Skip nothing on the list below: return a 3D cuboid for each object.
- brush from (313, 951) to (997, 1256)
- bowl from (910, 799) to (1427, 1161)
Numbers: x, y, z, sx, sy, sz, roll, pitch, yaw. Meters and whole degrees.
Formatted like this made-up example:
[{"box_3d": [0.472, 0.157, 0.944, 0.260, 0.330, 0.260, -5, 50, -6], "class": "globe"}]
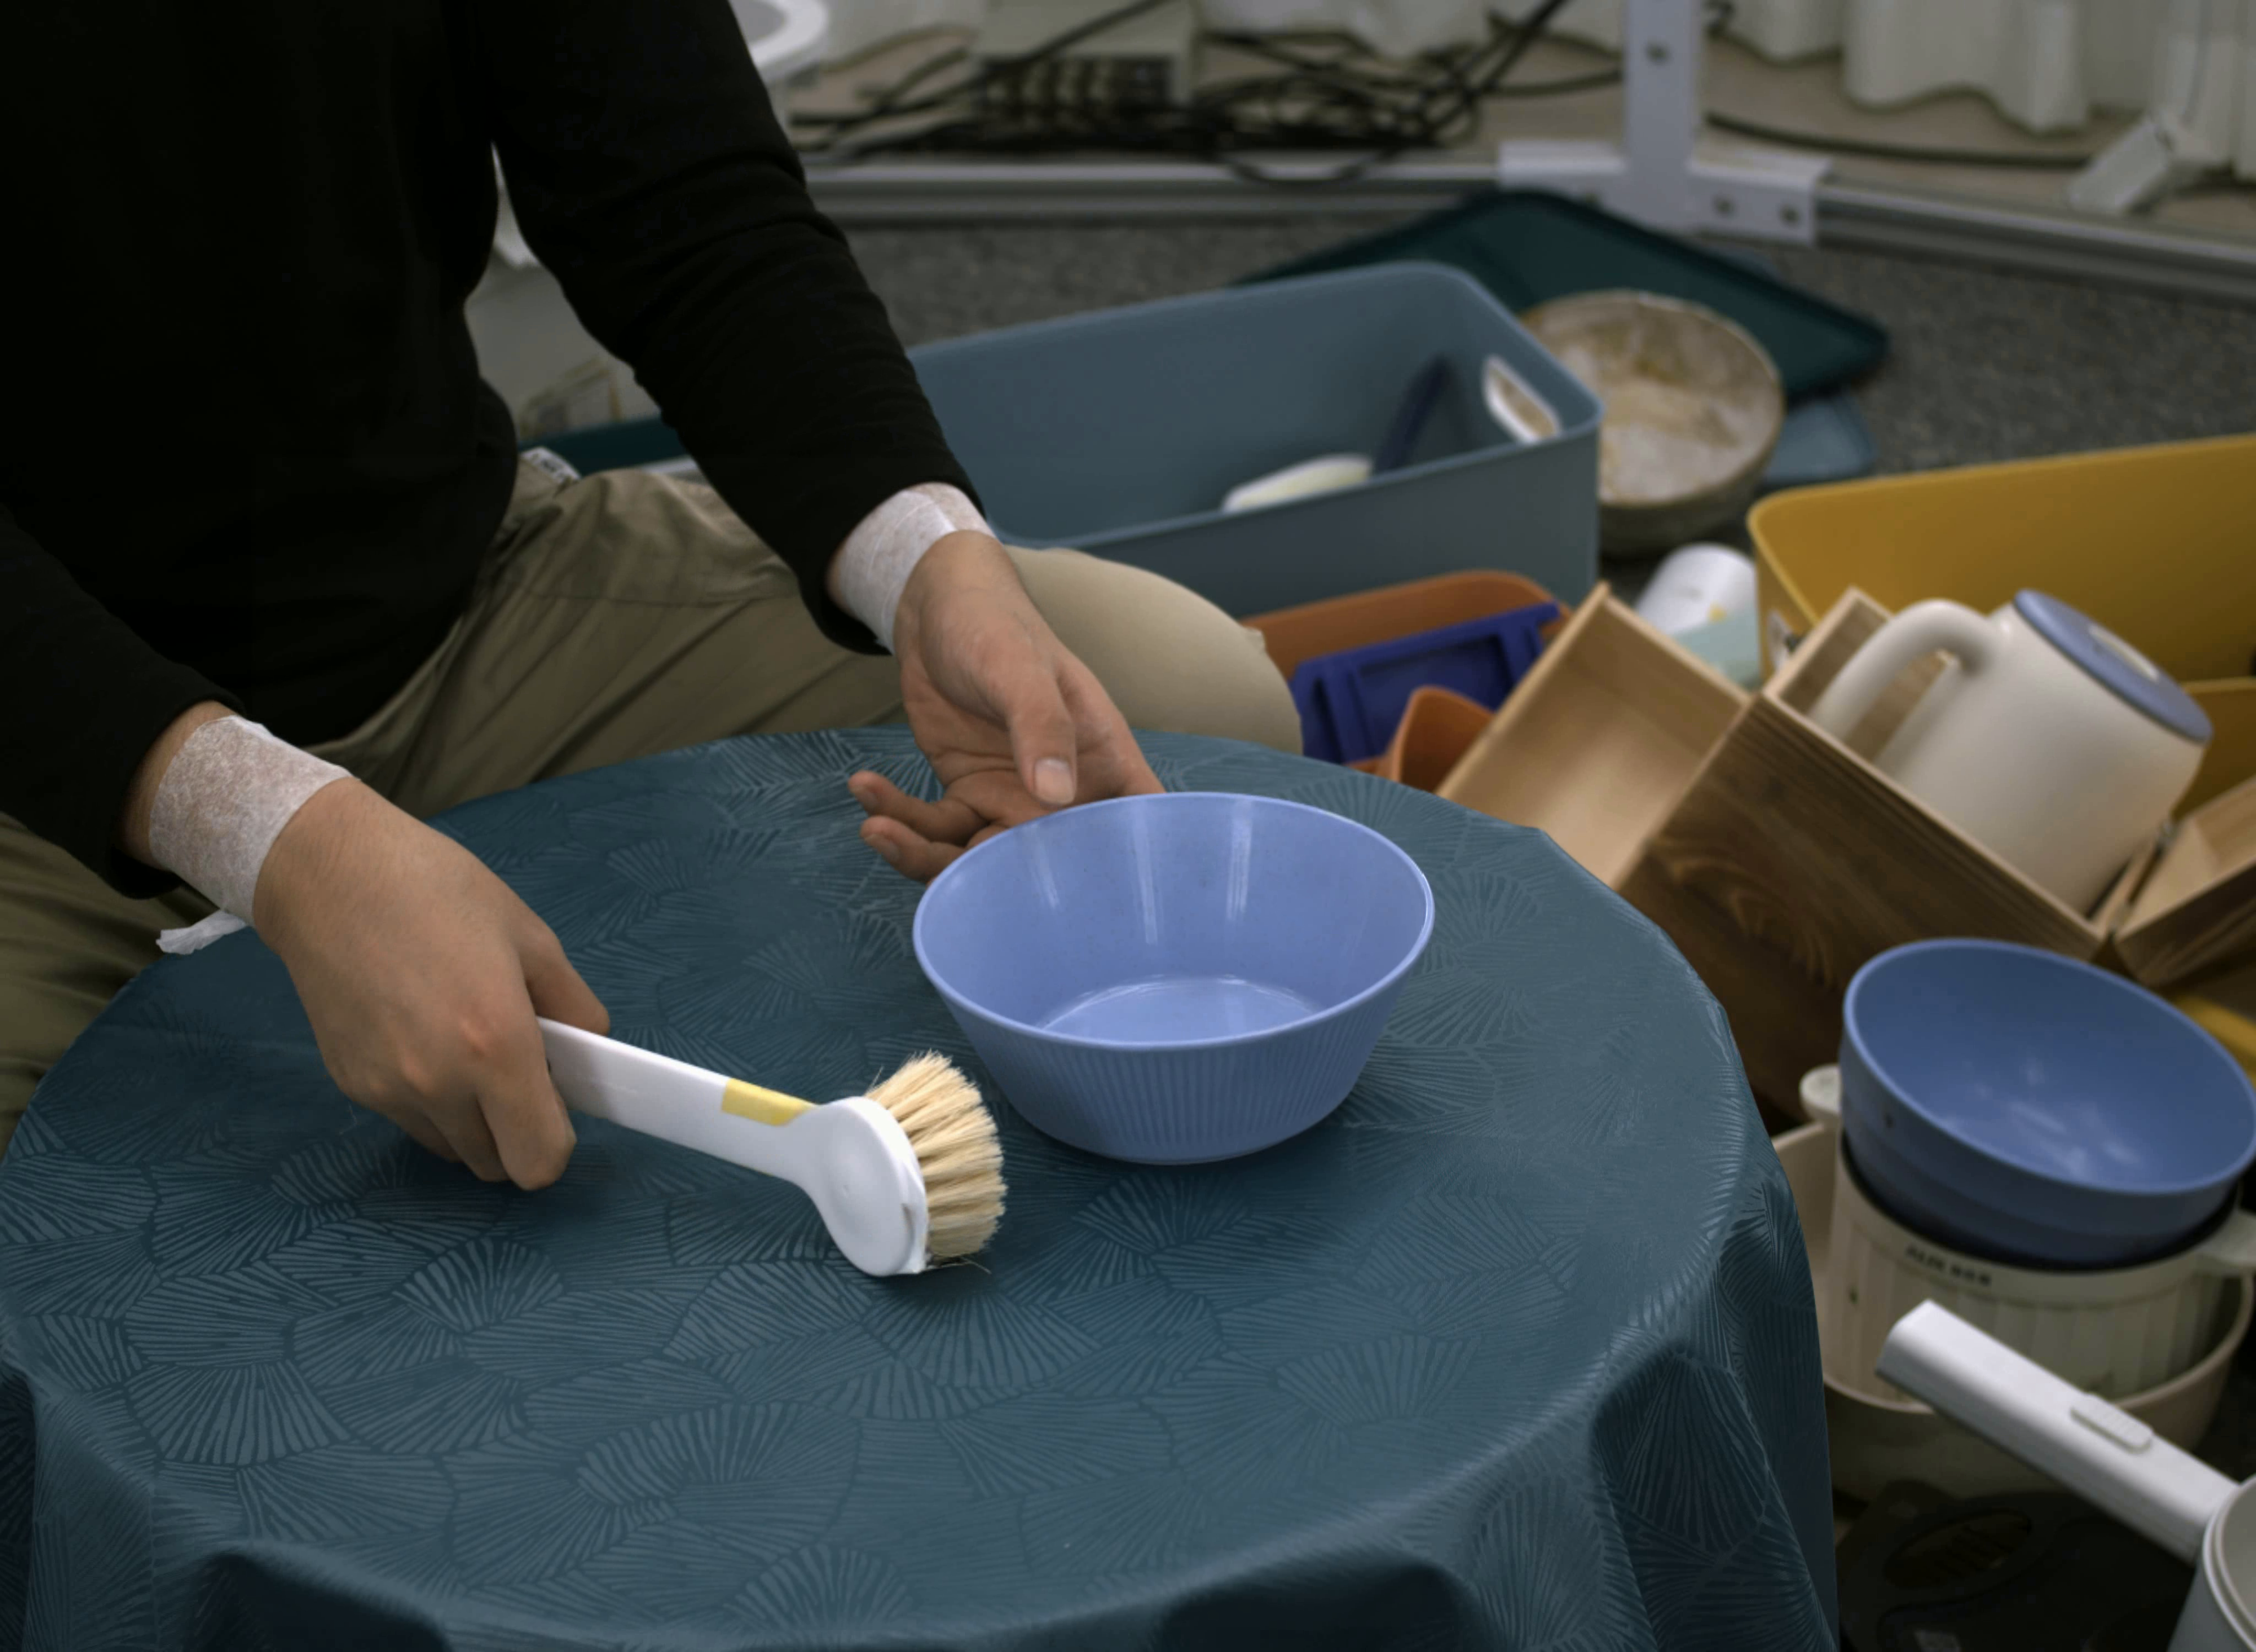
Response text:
[{"box_3d": [-0.155, 0.082, 1.869, 0.265, 0.068, 0.057, 17, 21, 30], "class": "brush"}, {"box_3d": [0.015, 0.058, 1.905, 0.175, 0.069, 0.178, -2, 26, 2], "class": "bowl"}]
